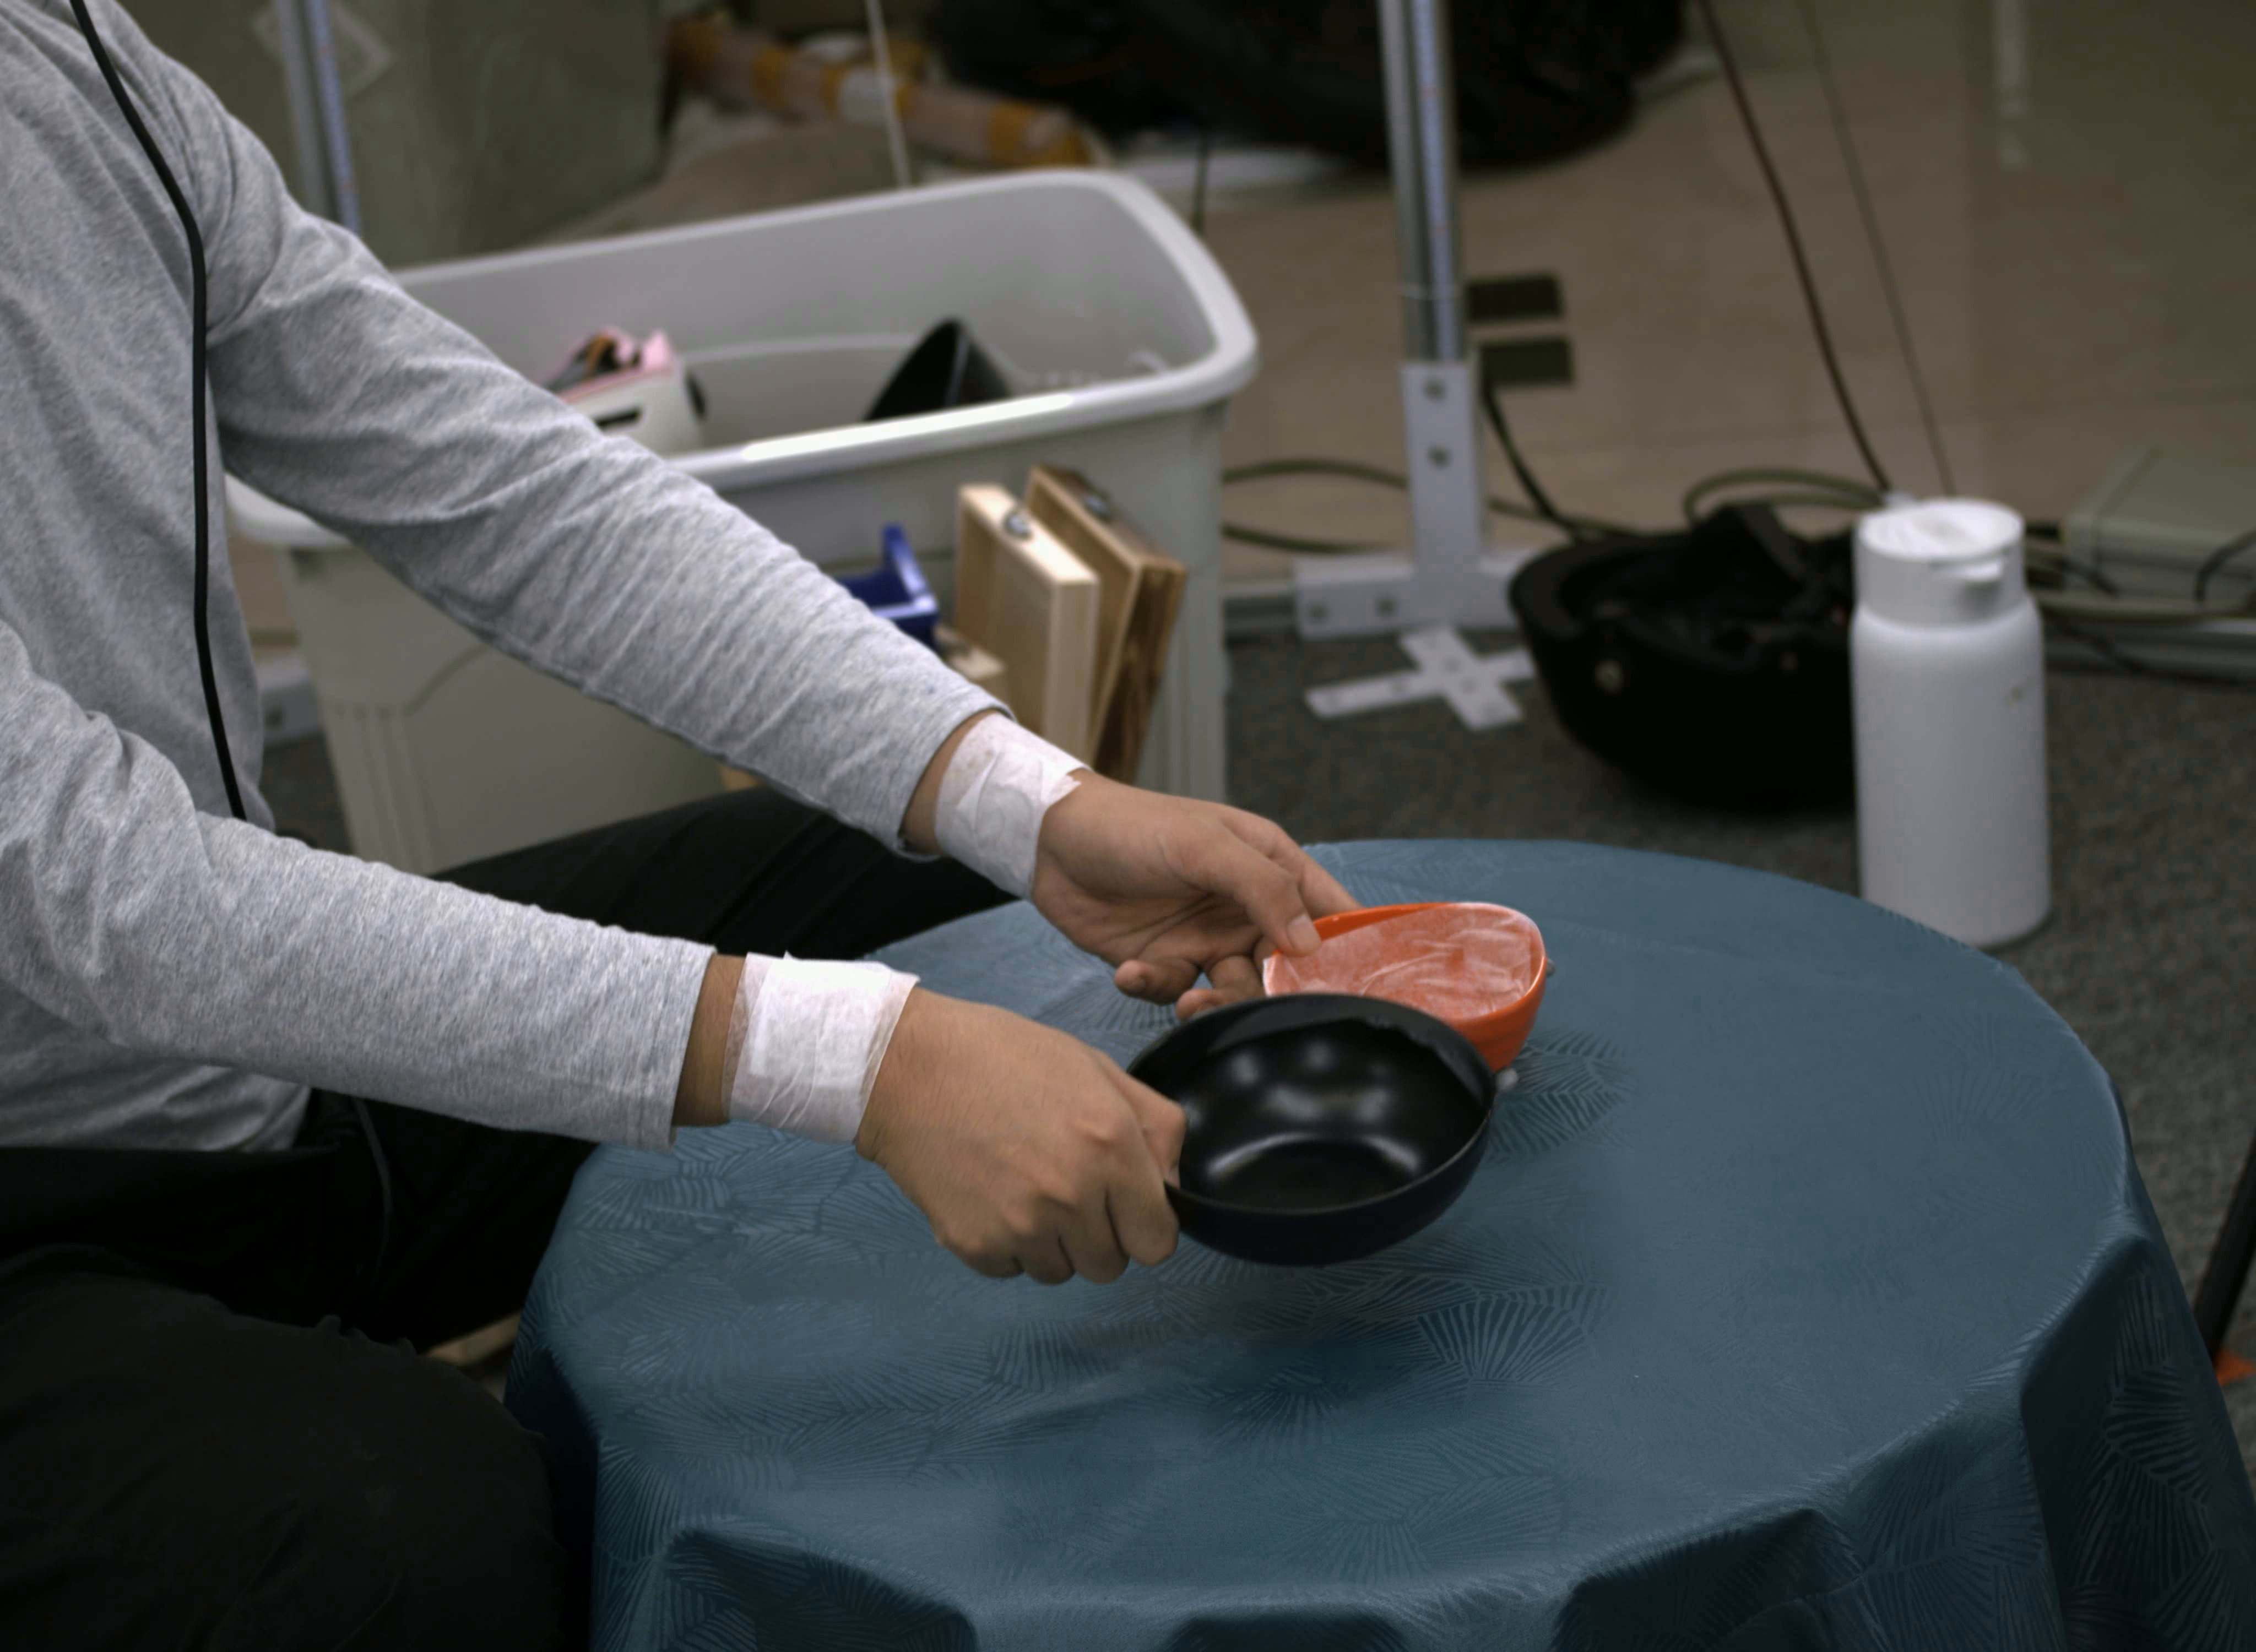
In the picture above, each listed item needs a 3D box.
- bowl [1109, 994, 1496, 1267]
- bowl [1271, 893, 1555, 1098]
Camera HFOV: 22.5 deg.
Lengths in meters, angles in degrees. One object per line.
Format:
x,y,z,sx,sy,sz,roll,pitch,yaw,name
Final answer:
0.065,0.118,2.051,0.140,0.050,0.137,-6,32,4,bowl
0.111,0.072,2.201,0.119,0.052,0.117,-2,26,1,bowl
